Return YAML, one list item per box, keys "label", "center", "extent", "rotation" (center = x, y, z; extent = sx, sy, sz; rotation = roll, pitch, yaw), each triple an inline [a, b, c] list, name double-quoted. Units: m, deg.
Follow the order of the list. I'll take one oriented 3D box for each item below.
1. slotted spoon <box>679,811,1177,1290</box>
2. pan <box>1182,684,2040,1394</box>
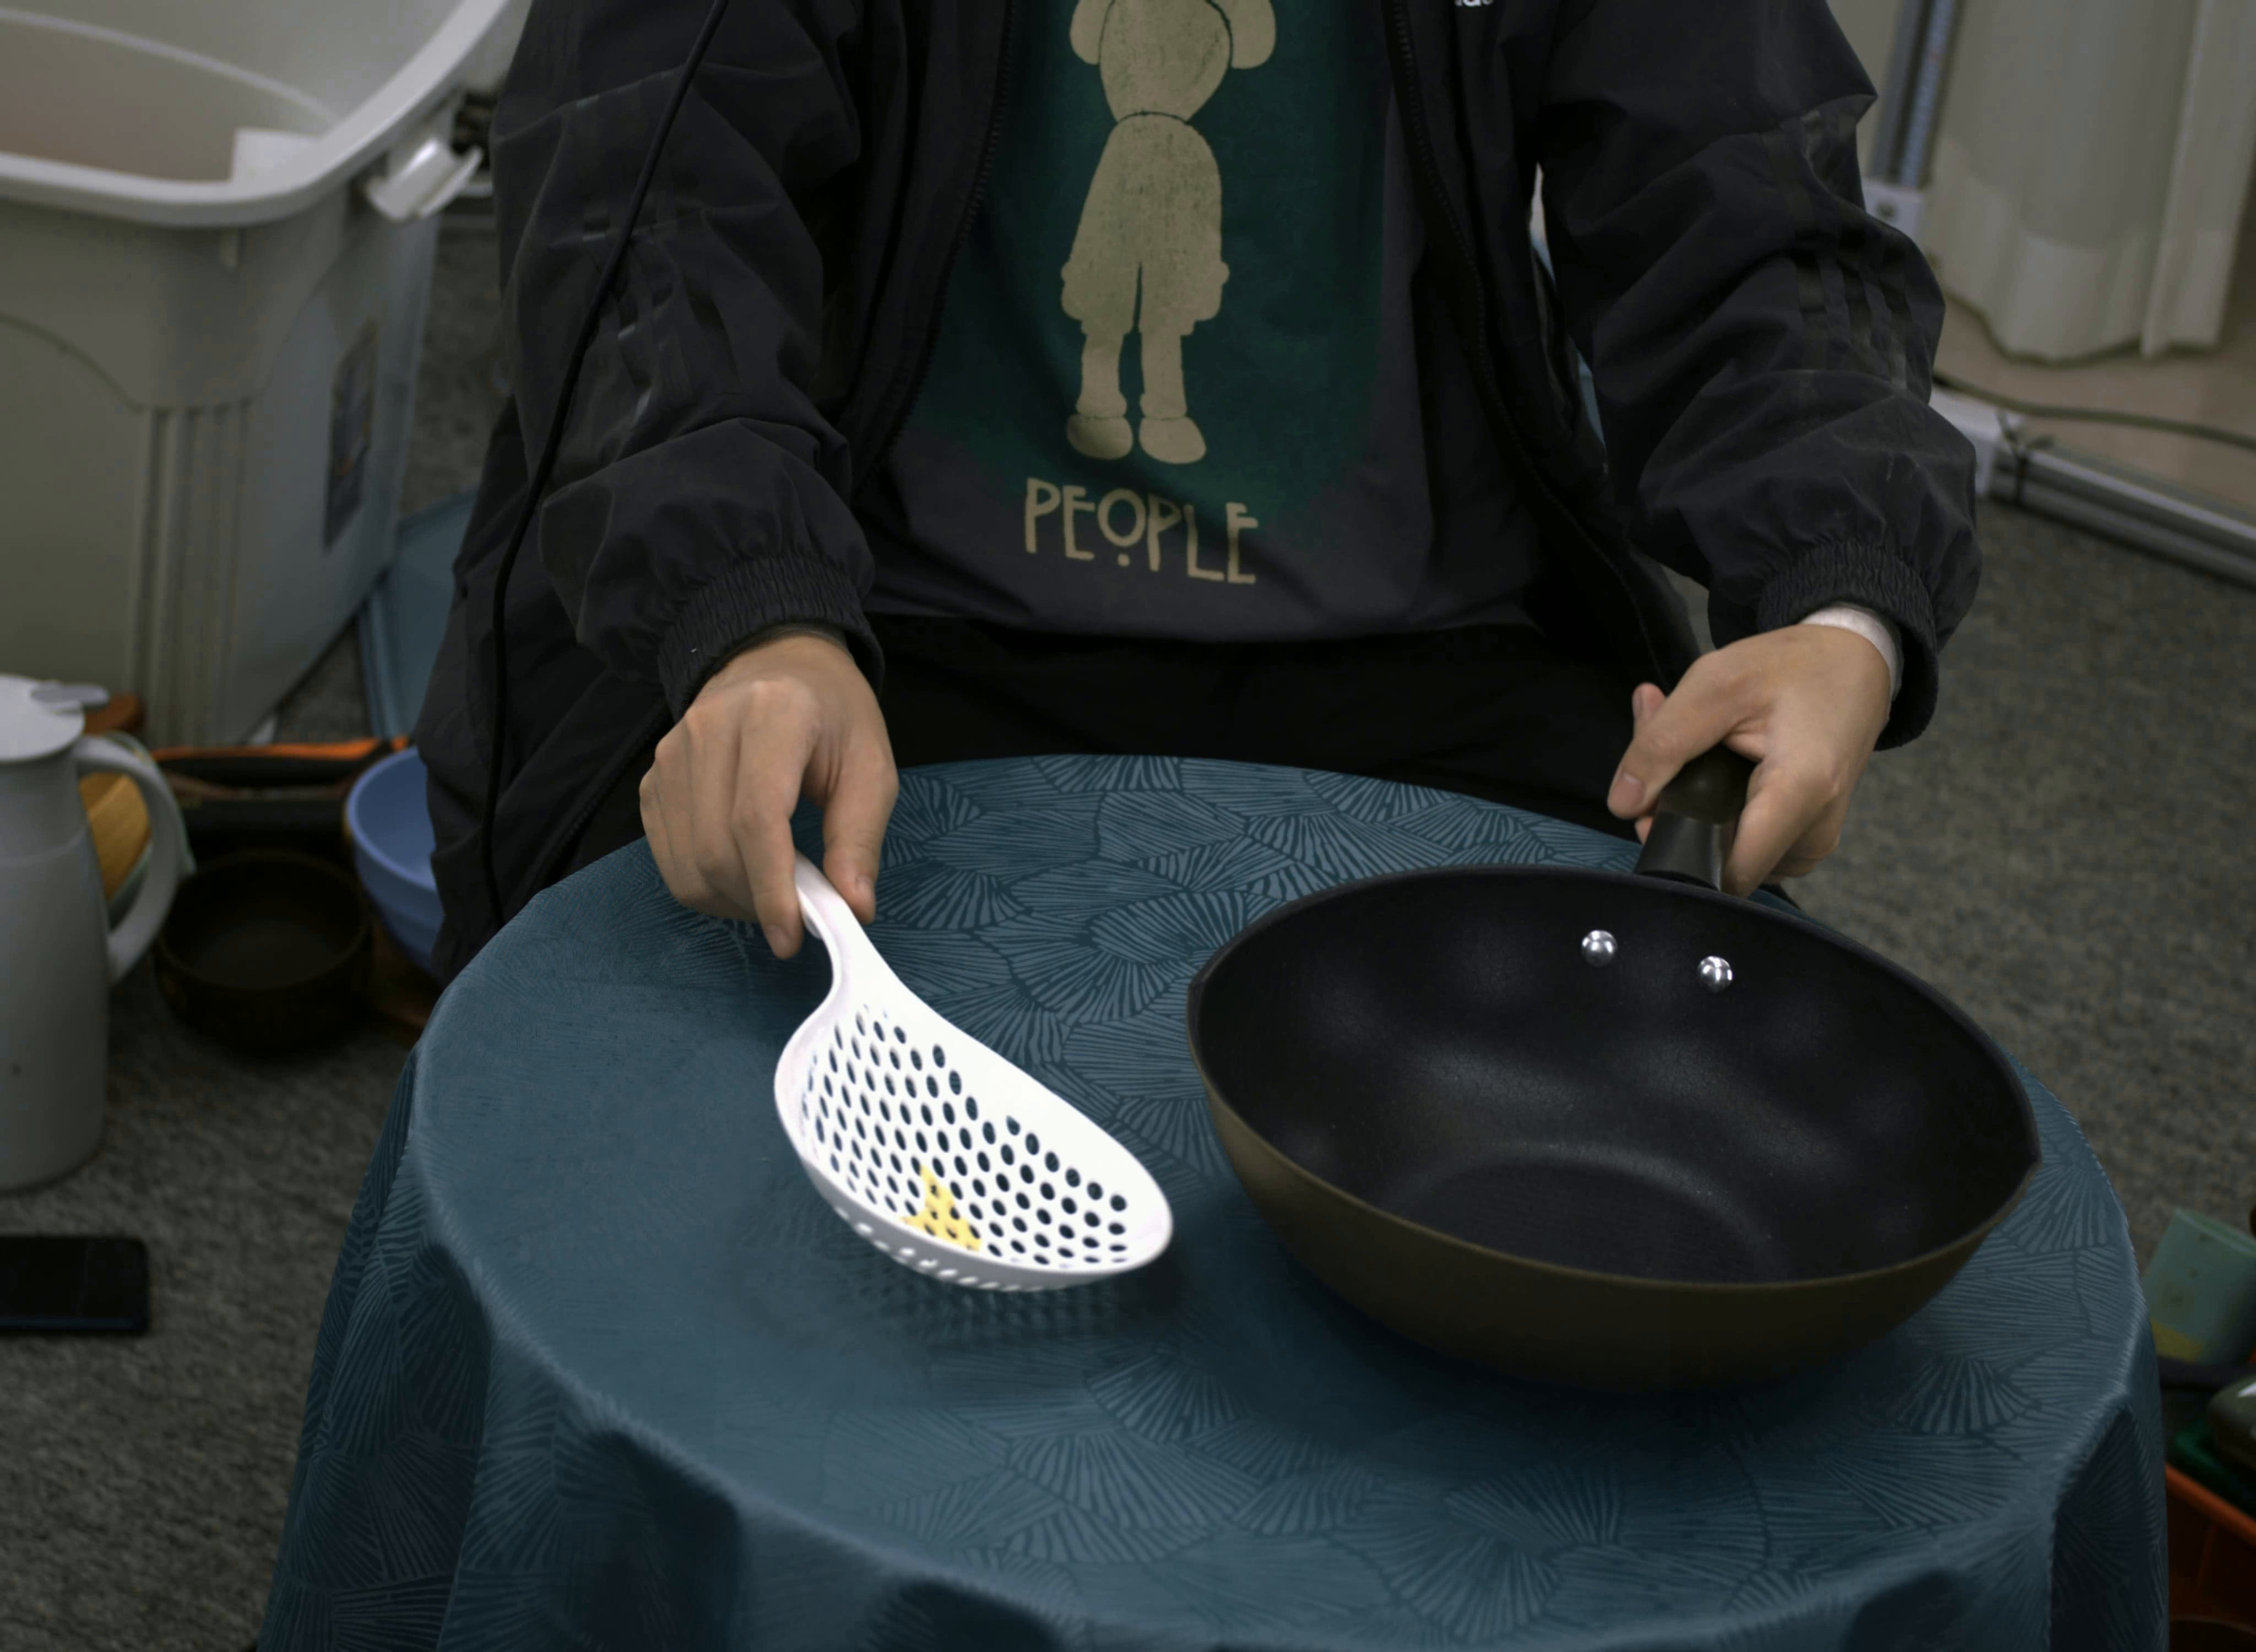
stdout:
- label: "slotted spoon"
  center: [-0.091, 0.067, 1.832]
  extent: [0.136, 0.050, 0.351]
  rotation: [8, 28, -25]
- label: "pan"
  center: [0.175, 0.072, 1.852]
  extent: [0.288, 0.086, 0.464]
  rotation: [12, 27, 9]
